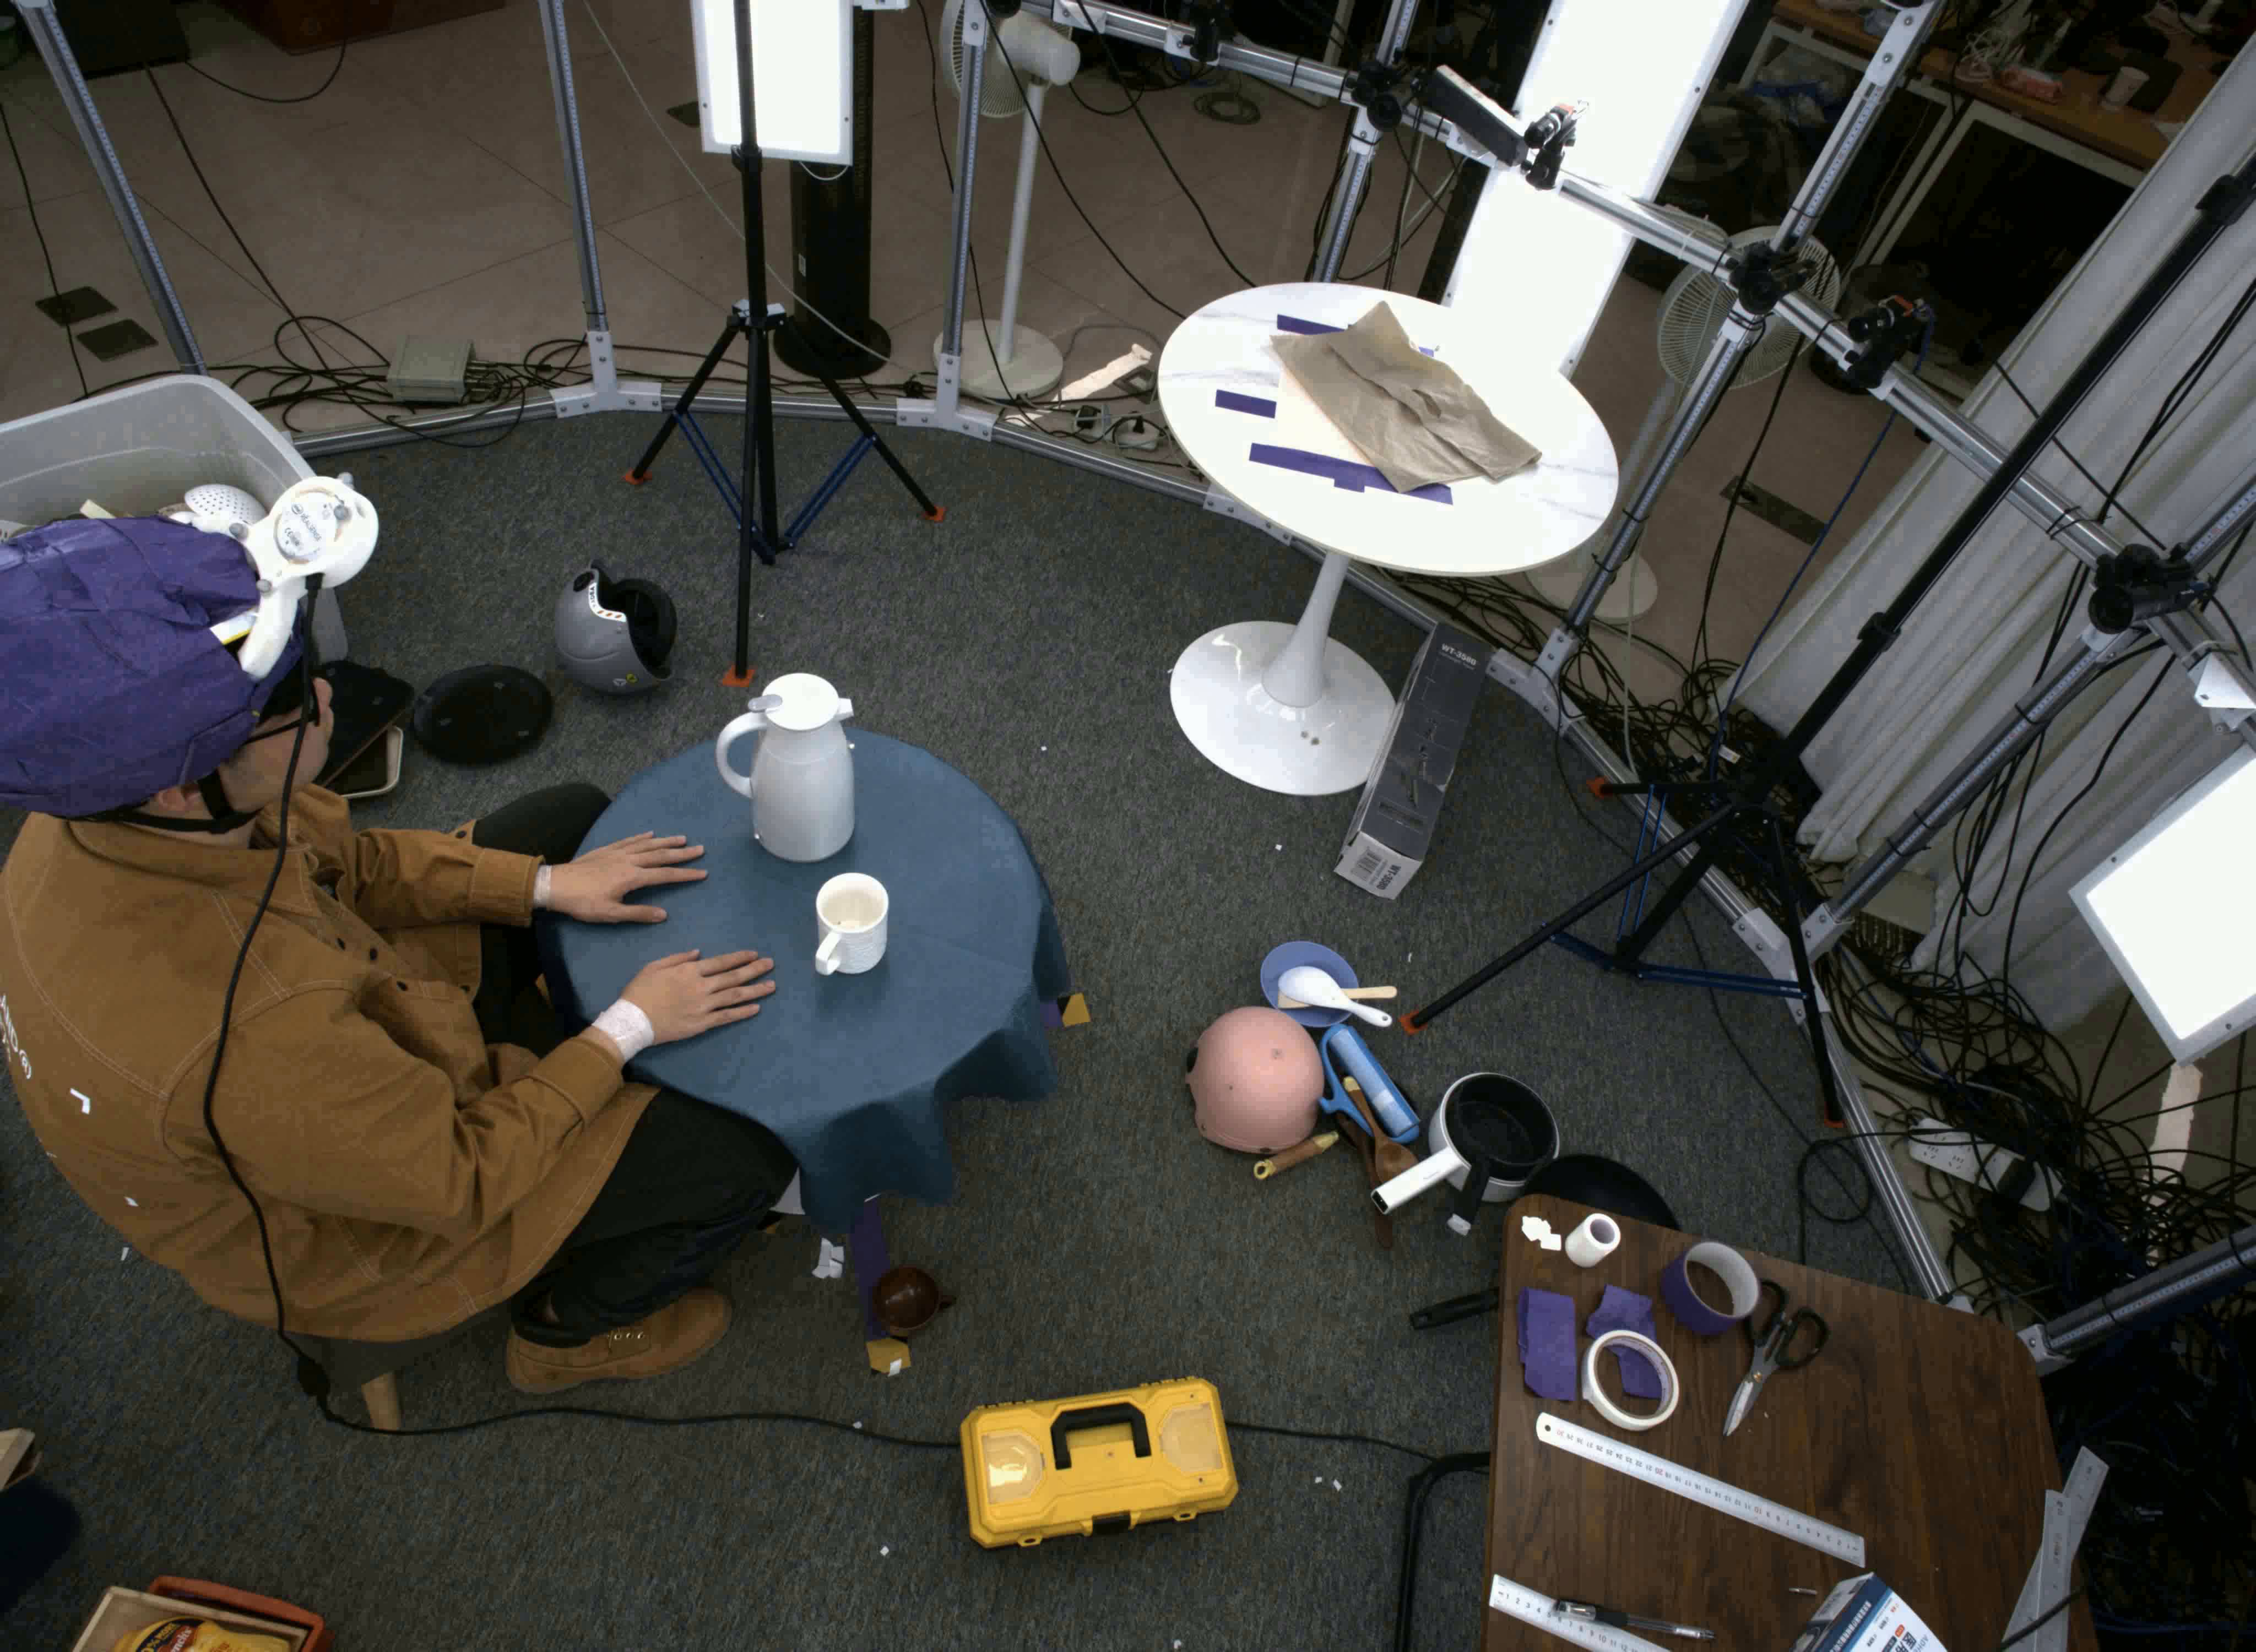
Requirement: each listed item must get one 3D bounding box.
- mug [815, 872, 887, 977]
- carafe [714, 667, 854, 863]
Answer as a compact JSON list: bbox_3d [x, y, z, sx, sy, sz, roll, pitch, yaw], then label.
[{"bbox_3d":[-0.343,0.130,1.579,0.084,0.104,0.117,22,52,6],"label":"mug"},{"bbox_3d":[-0.429,-0.078,1.618,0.168,0.254,0.129,-9,55,-18],"label":"carafe"}]
